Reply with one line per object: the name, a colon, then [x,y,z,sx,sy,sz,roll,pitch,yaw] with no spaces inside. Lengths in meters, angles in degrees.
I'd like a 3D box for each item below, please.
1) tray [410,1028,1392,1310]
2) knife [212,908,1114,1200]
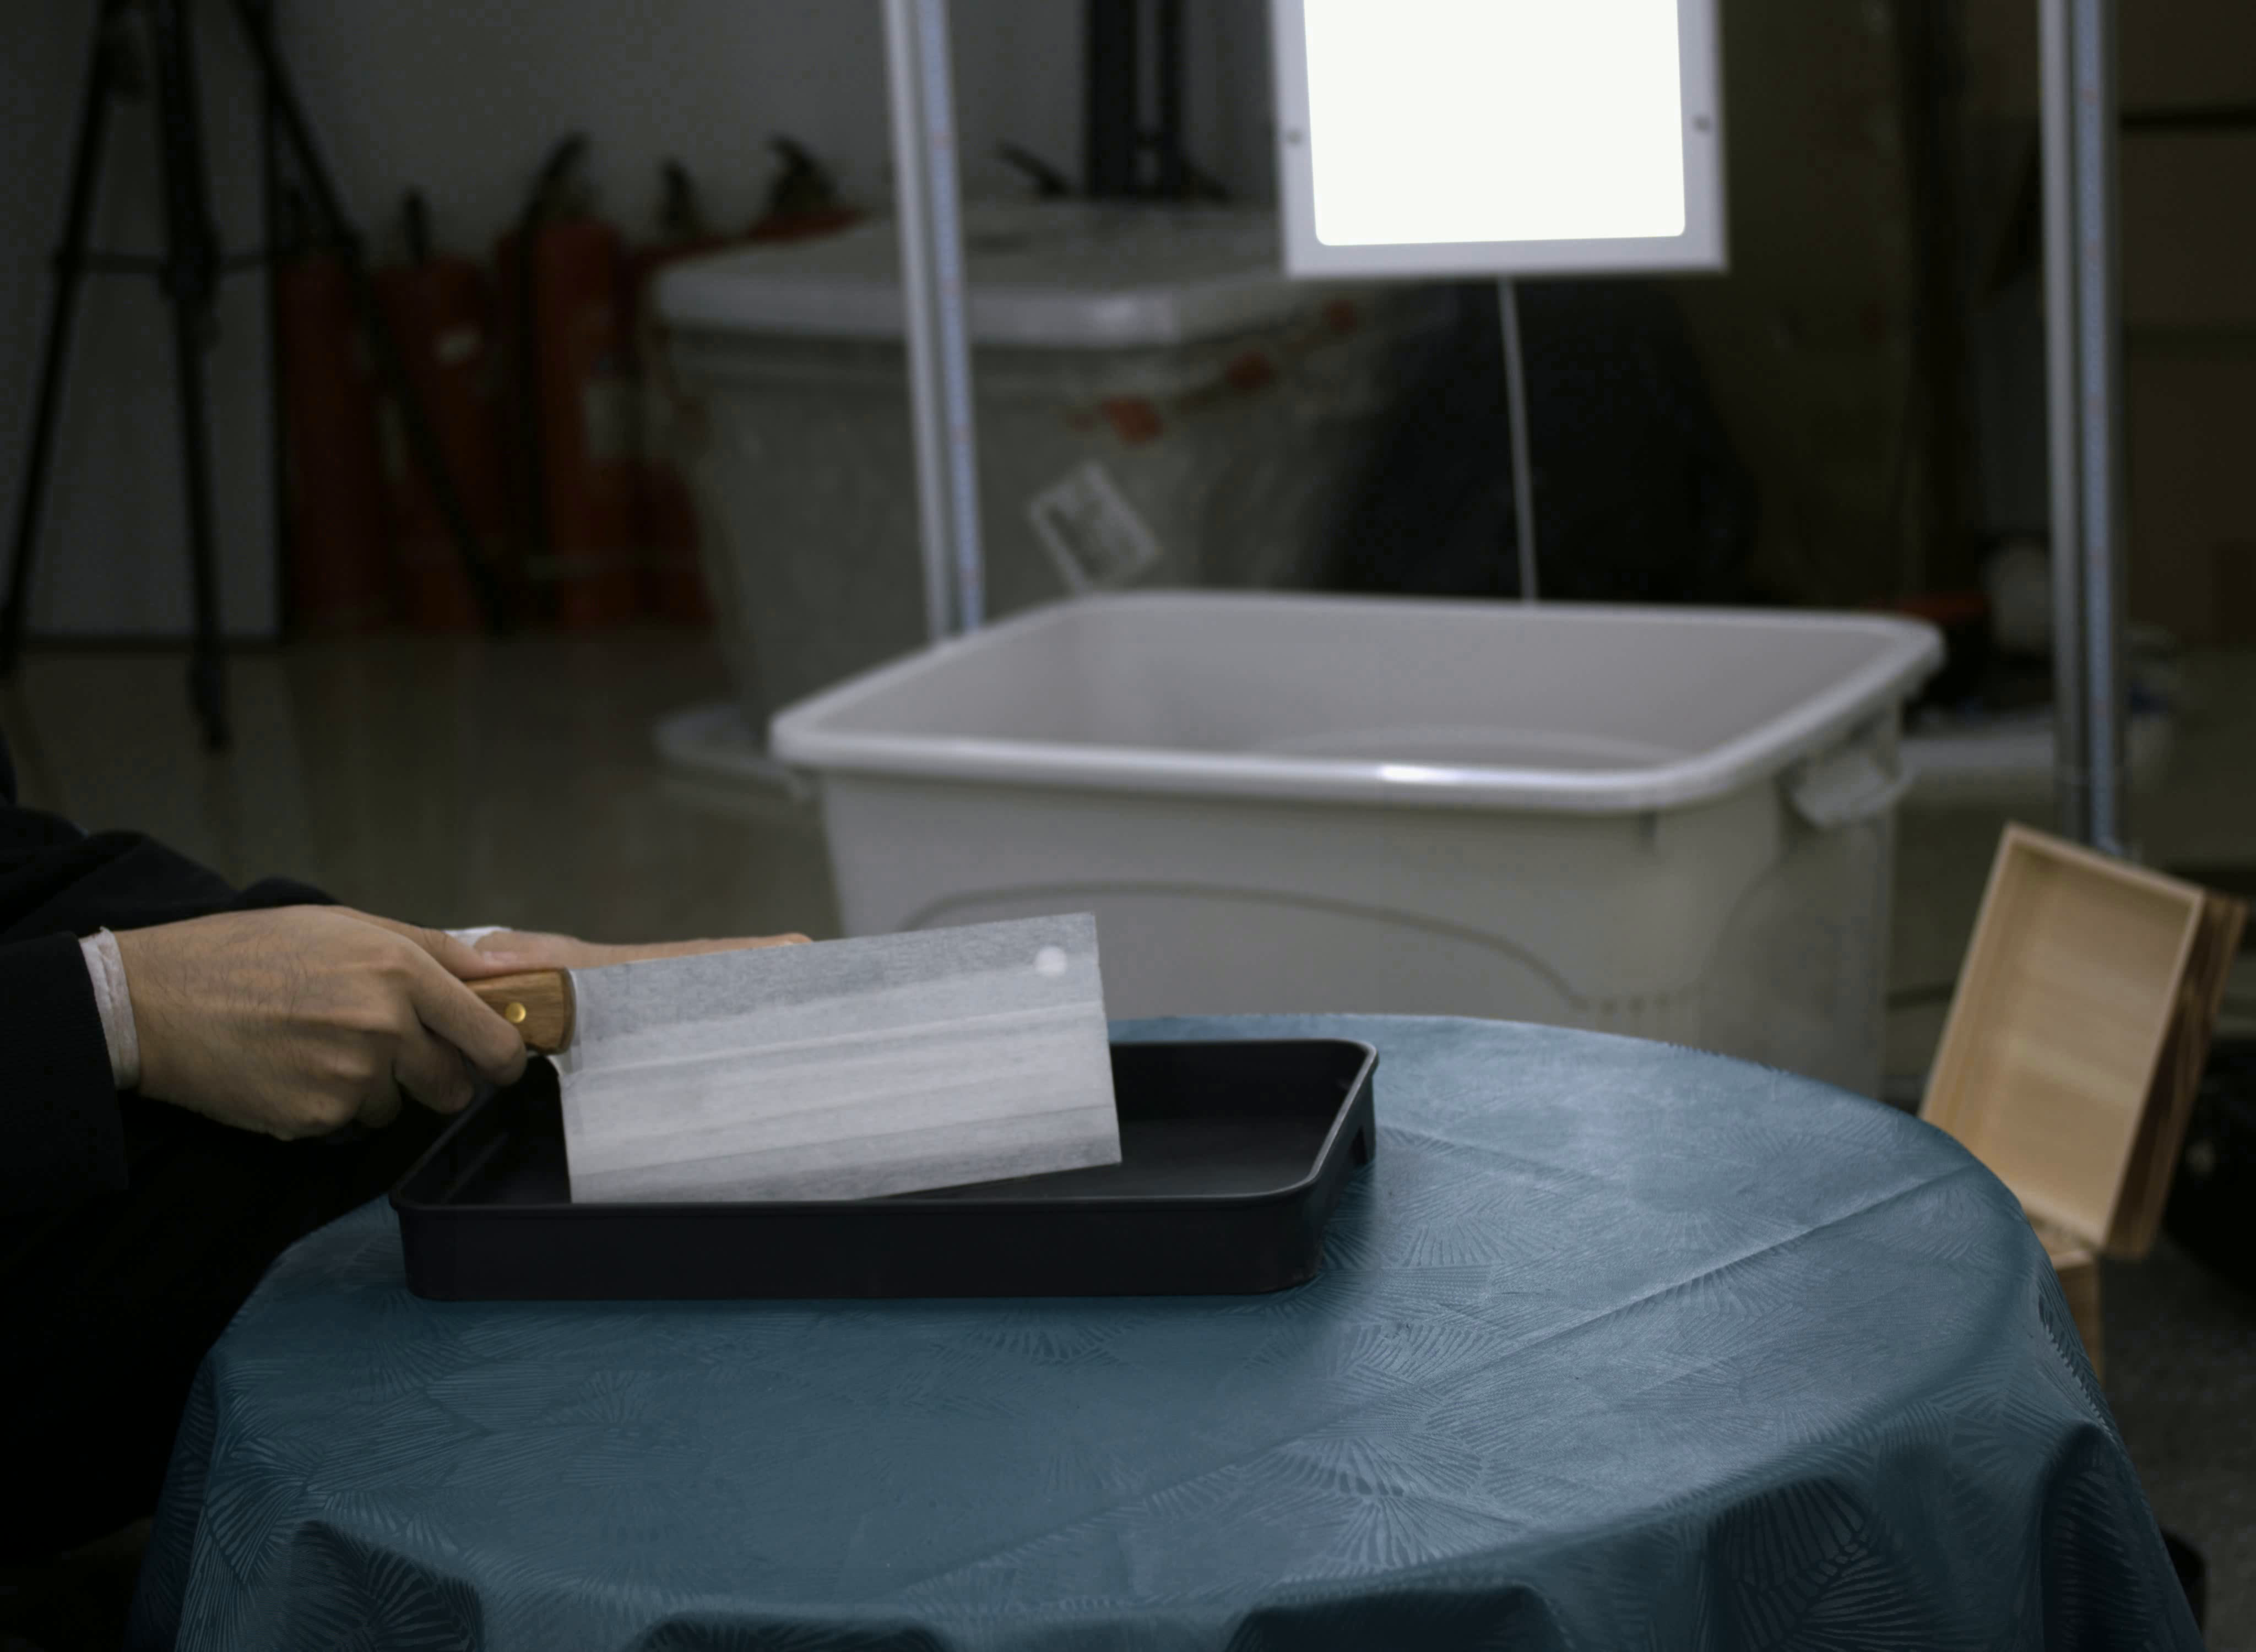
tray: [-0.073,0.116,1.890,0.320,0.037,0.182,-3,15,12]
knife: [-0.158,0.088,1.888,0.305,0.093,0.021,-6,3,1]
